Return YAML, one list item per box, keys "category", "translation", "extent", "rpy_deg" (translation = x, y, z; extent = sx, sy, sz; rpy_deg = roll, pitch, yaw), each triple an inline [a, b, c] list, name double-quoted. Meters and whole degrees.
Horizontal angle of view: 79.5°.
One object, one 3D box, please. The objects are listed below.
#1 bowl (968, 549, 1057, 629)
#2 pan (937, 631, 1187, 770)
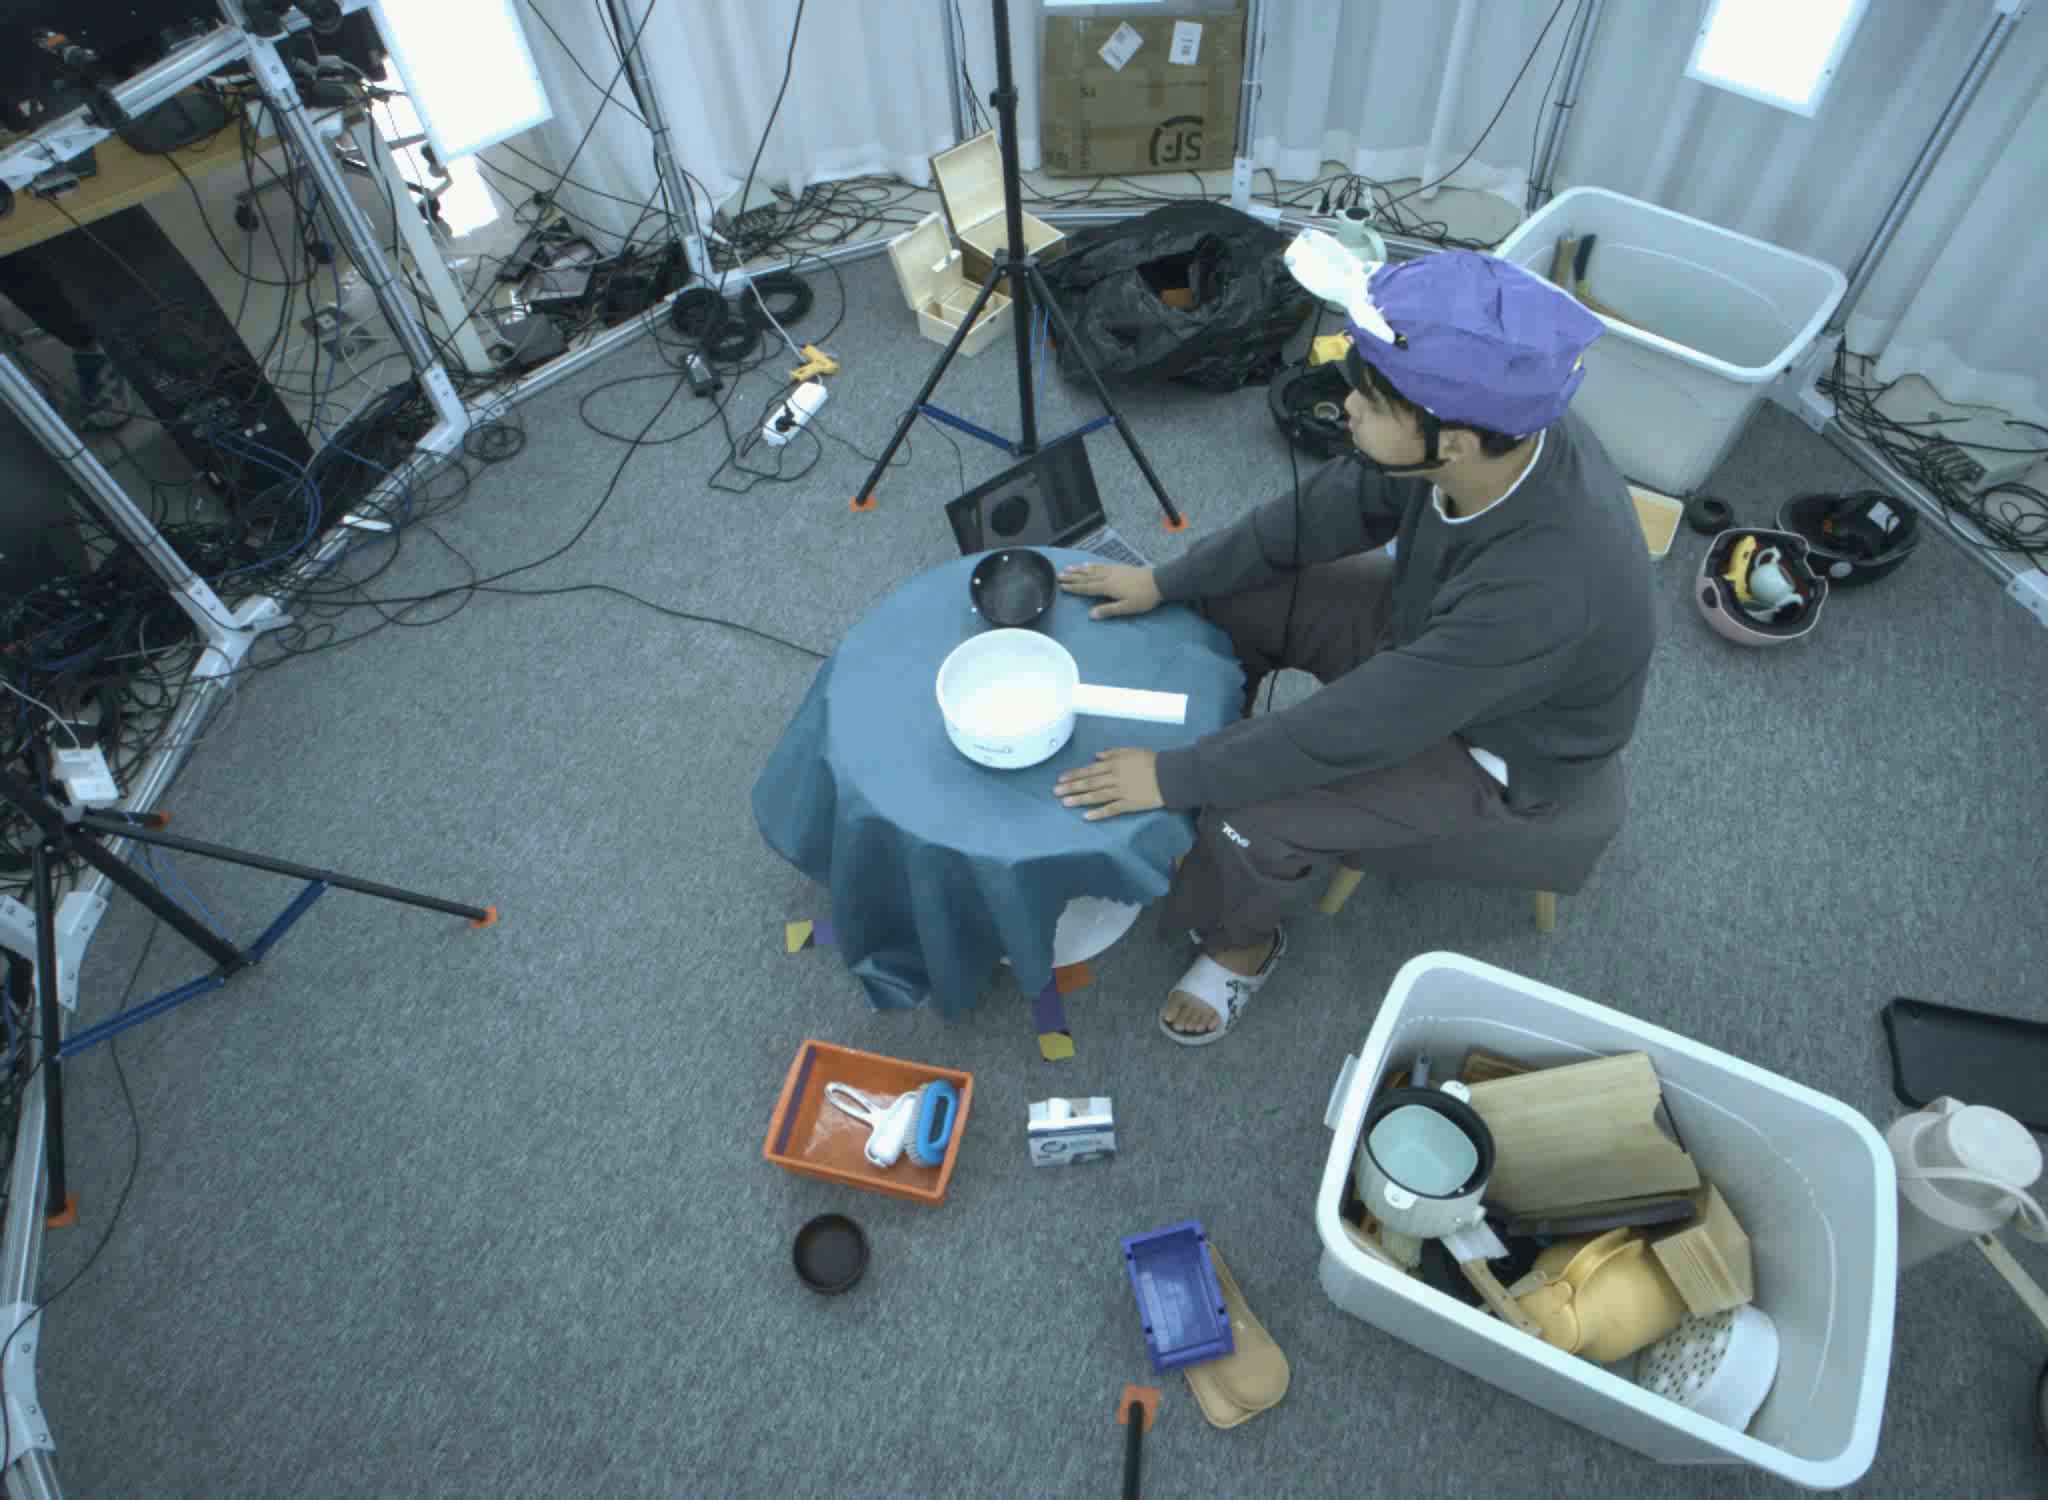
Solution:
- category: "bowl"
  translation: [-0.017, -0.244, 1.920]
  extent: [0.137, 0.067, 0.169]
  rpy_deg: [3, 54, 3]
- category: "pan"
  translation: [0.054, -0.056, 1.772]
  extent: [0.353, 0.103, 0.200]
  rpy_deg: [8, 54, 5]
